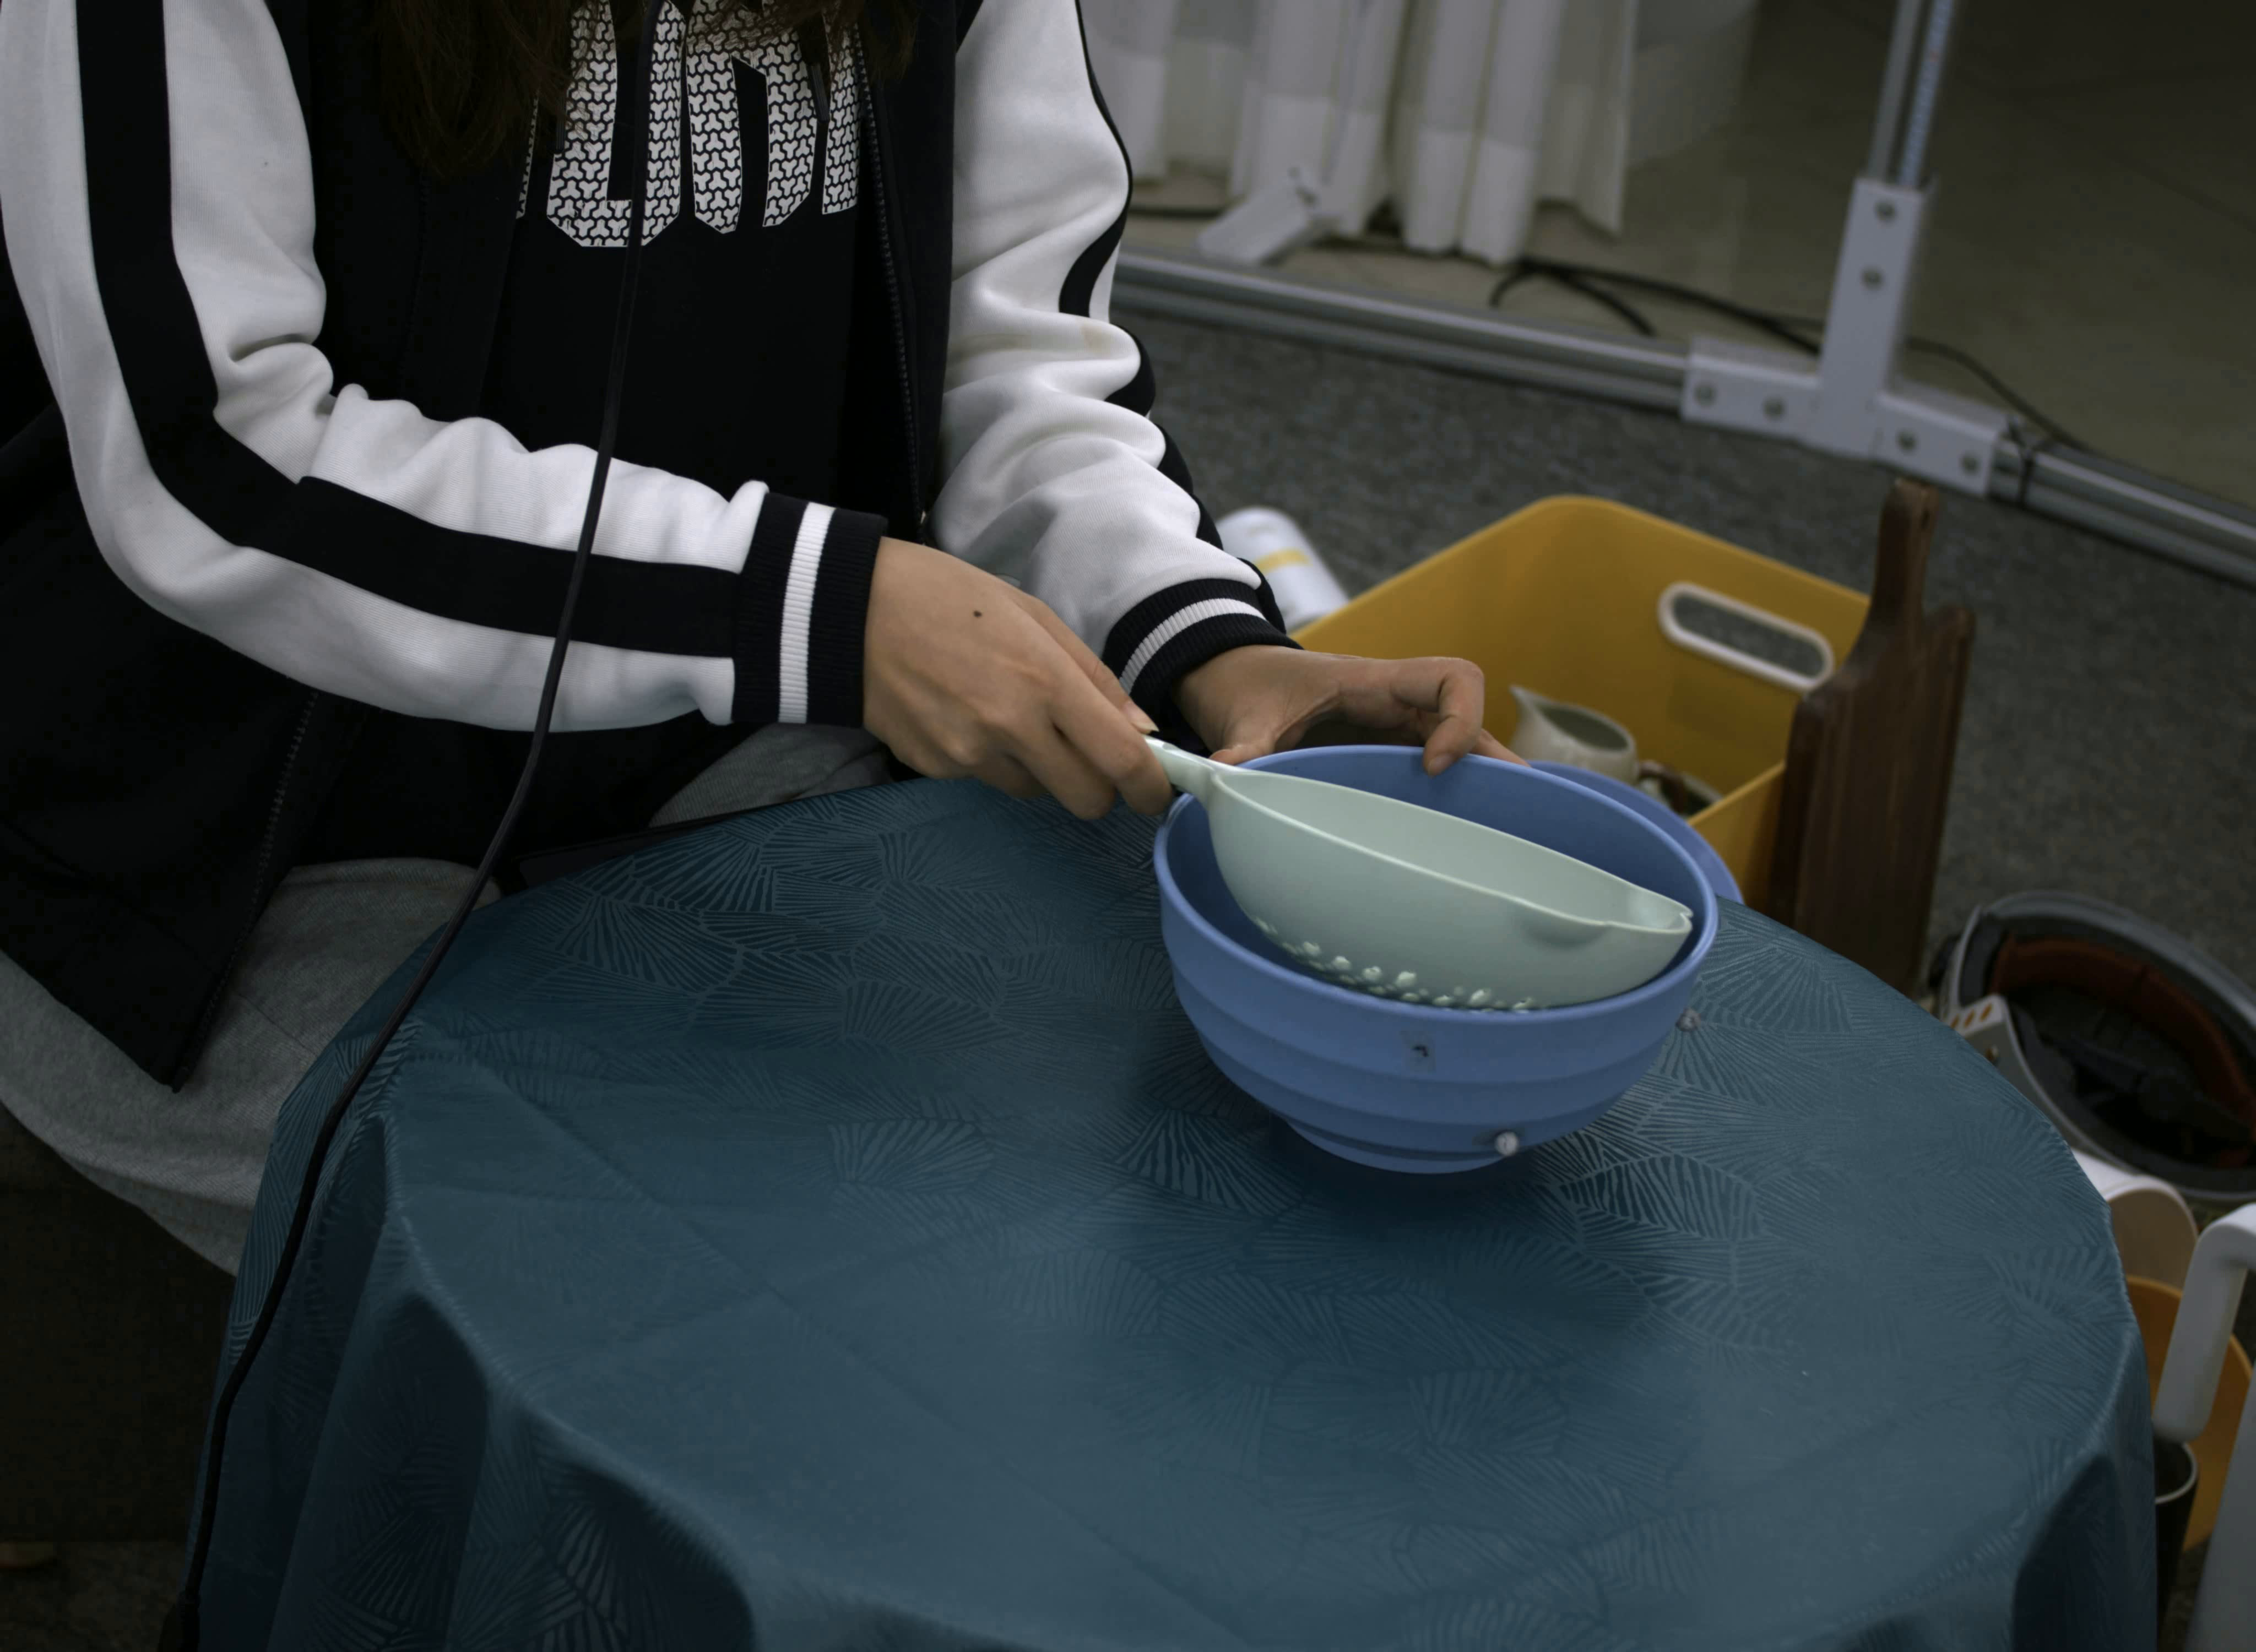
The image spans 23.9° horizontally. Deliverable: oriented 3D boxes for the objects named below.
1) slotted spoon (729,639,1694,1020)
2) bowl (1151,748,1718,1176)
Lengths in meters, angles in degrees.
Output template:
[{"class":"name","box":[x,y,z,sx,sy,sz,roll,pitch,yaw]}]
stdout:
[{"class":"slotted spoon","box":[0.020,-0.009,1.842,0.360,0.075,0.168,27,10,21]},{"class":"bowl","box":[0.101,0.058,1.850,0.196,0.095,0.198,4,27,-3]}]
